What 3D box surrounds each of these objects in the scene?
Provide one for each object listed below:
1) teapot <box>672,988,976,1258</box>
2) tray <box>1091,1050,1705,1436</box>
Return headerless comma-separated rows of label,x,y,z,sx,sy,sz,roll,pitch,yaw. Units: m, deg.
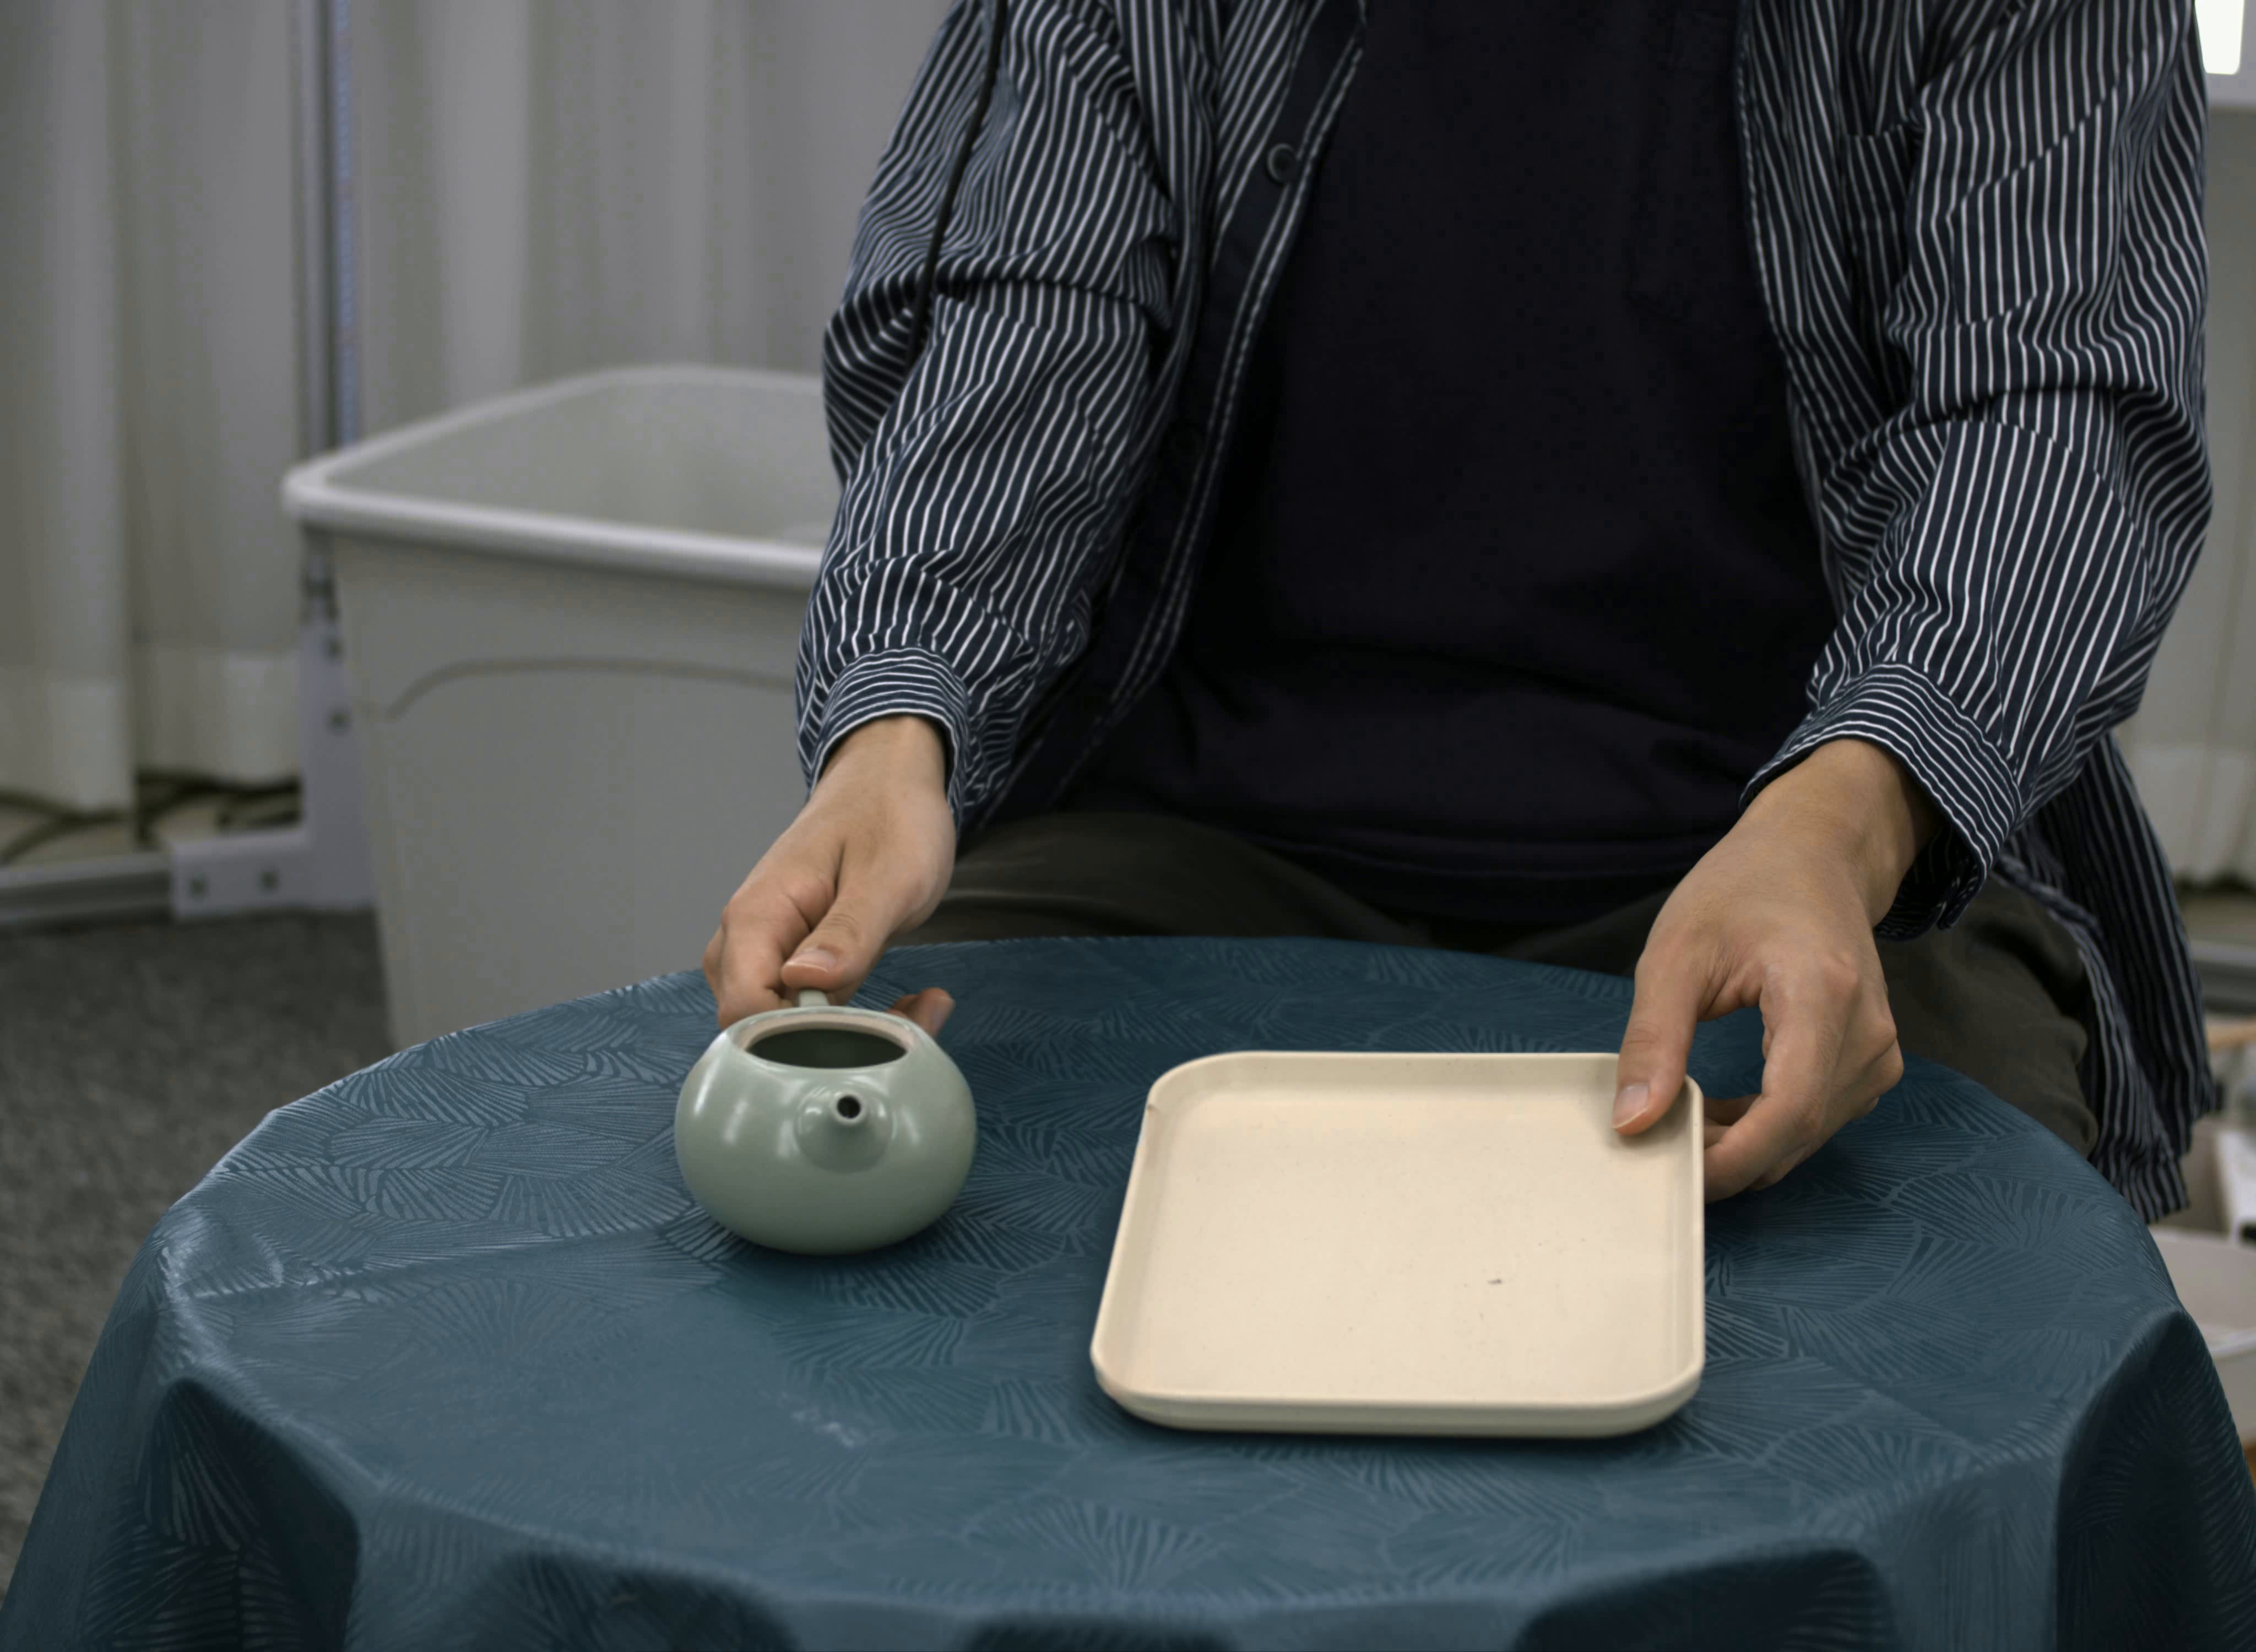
teapot,-0.092,0.089,1.594,0.091,0.061,0.127,-2,17,-5
tray,0.082,0.120,1.532,0.170,0.017,0.238,1,21,5
